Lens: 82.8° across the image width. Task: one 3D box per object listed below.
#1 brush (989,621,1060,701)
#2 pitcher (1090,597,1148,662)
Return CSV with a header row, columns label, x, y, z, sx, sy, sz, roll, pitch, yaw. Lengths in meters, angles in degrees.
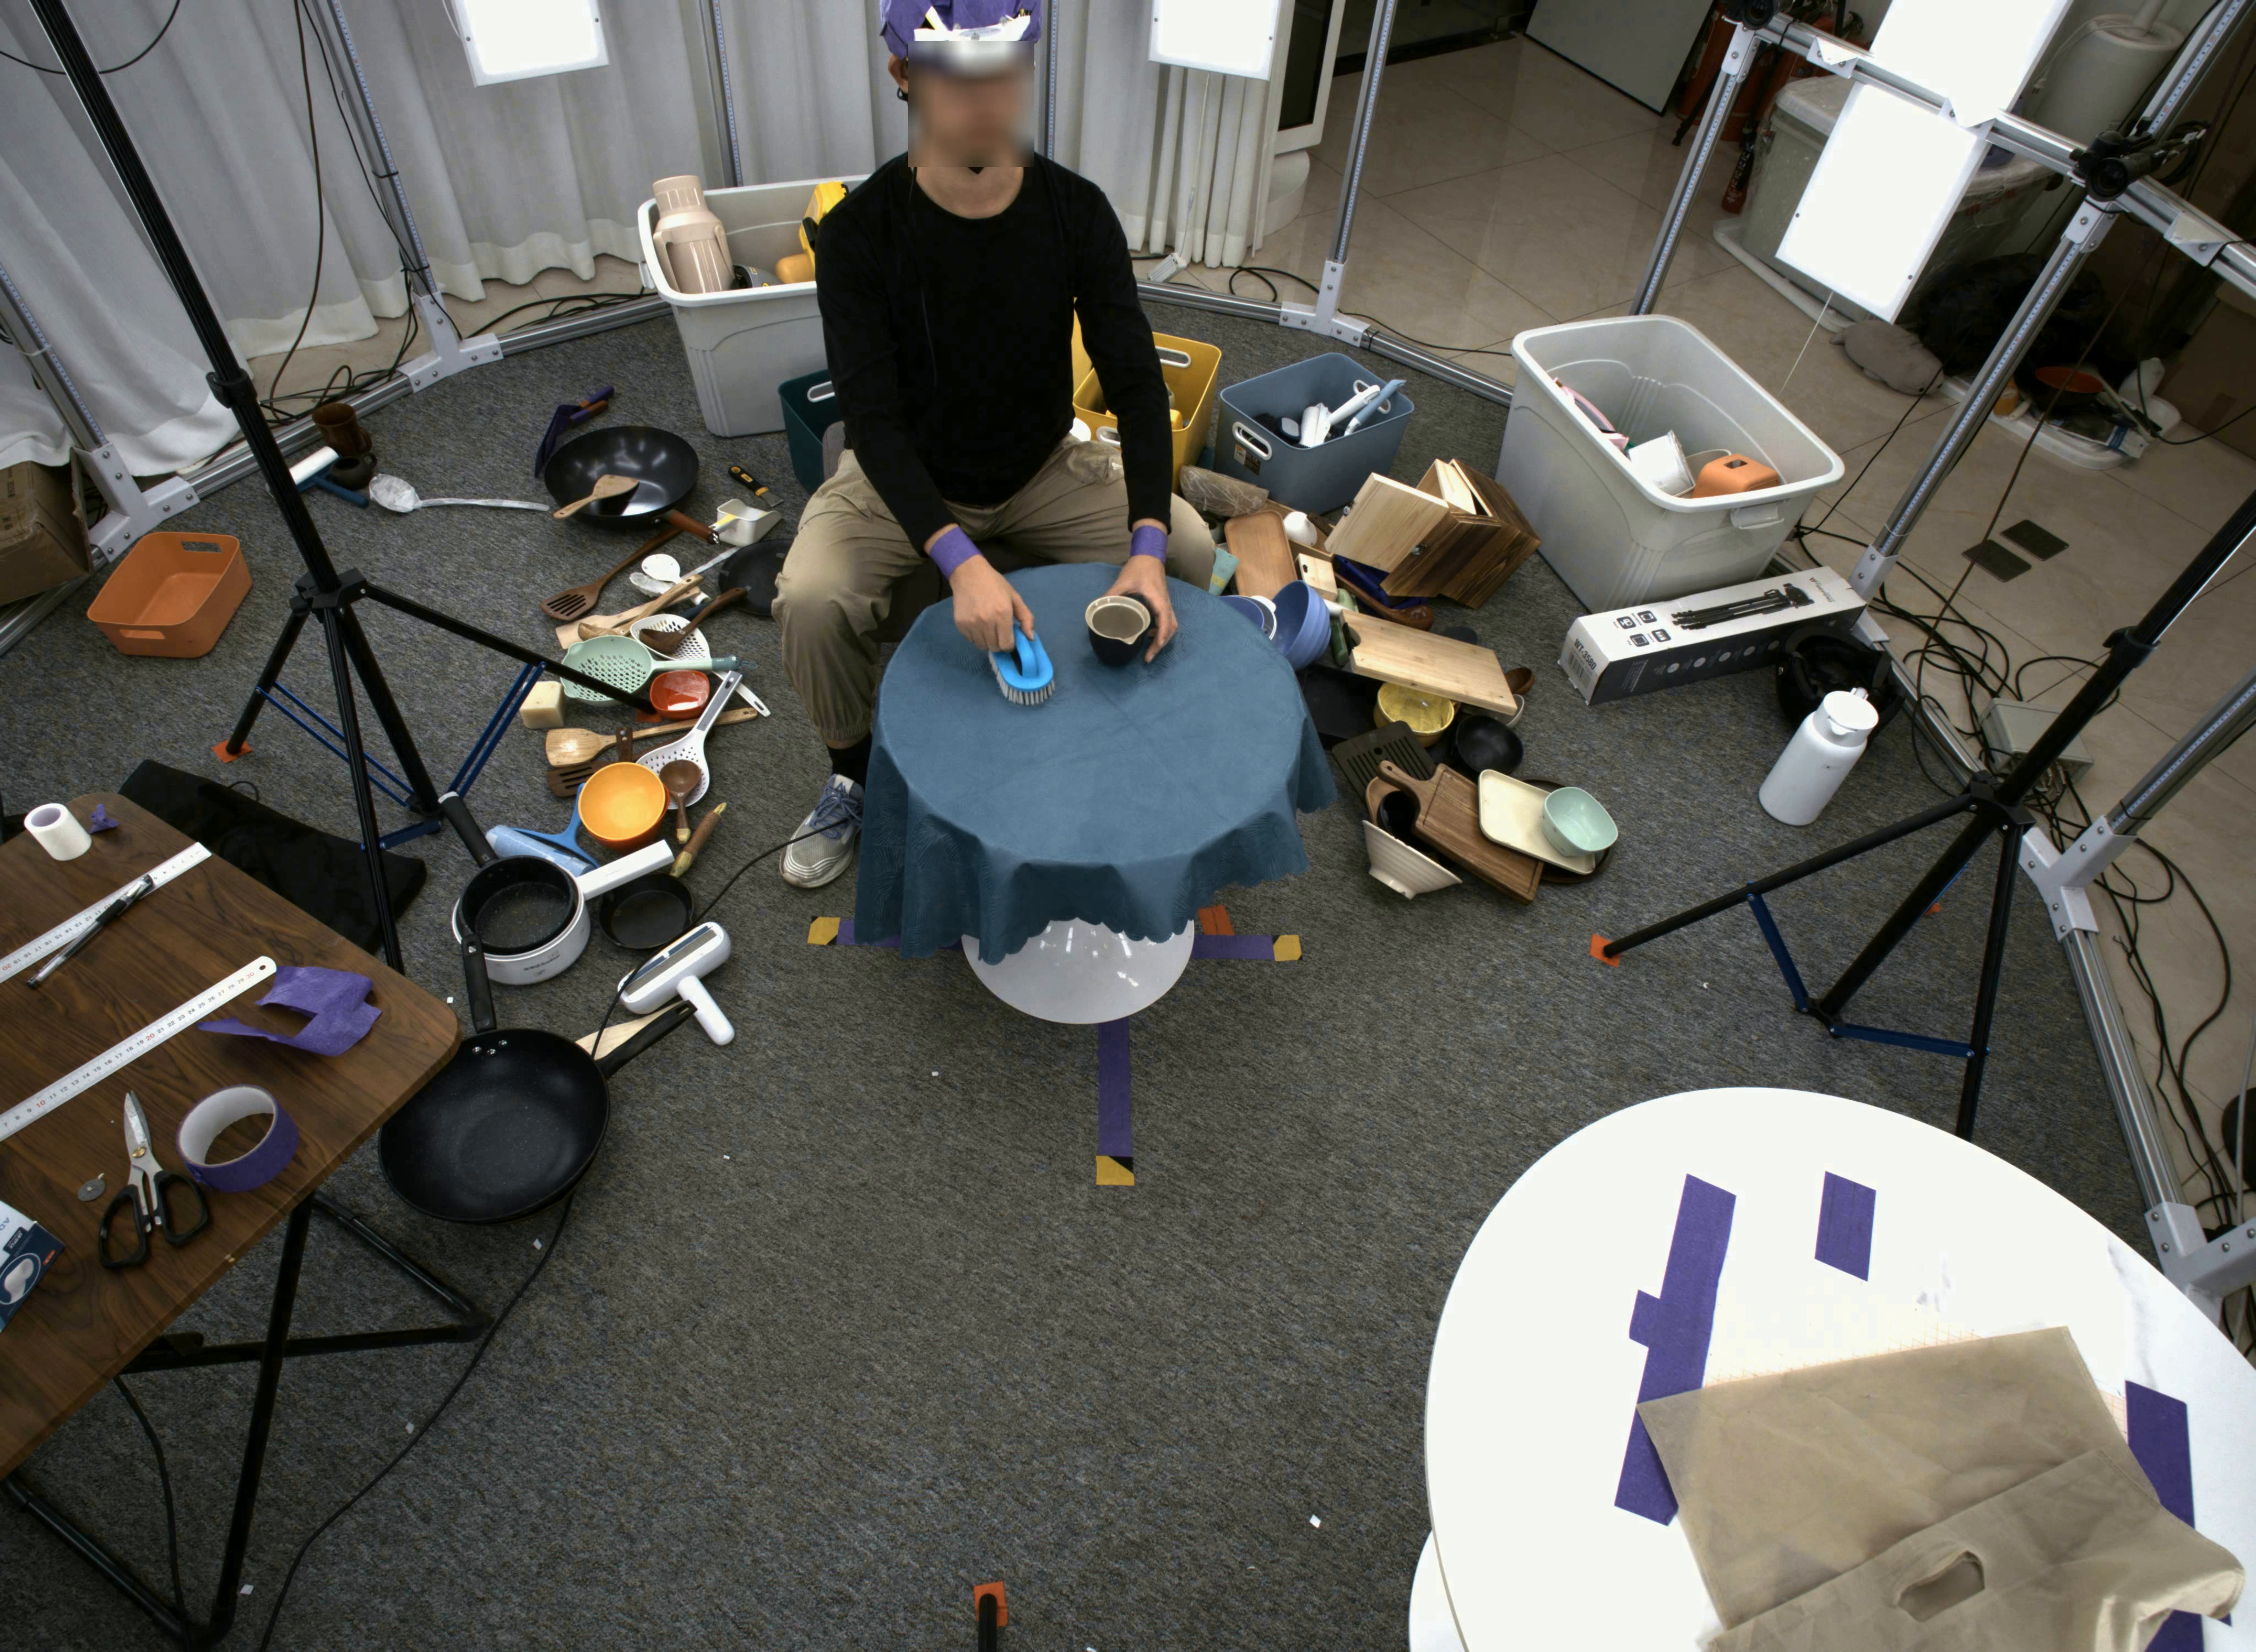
label,x,y,z,sx,sy,sz,roll,pitch,yaw
brush,-0.149,-0.246,1.827,0.084,0.062,0.145,-15,51,-11
pitcher,-0.014,-0.277,1.858,0.083,0.069,0.098,-8,52,-12
